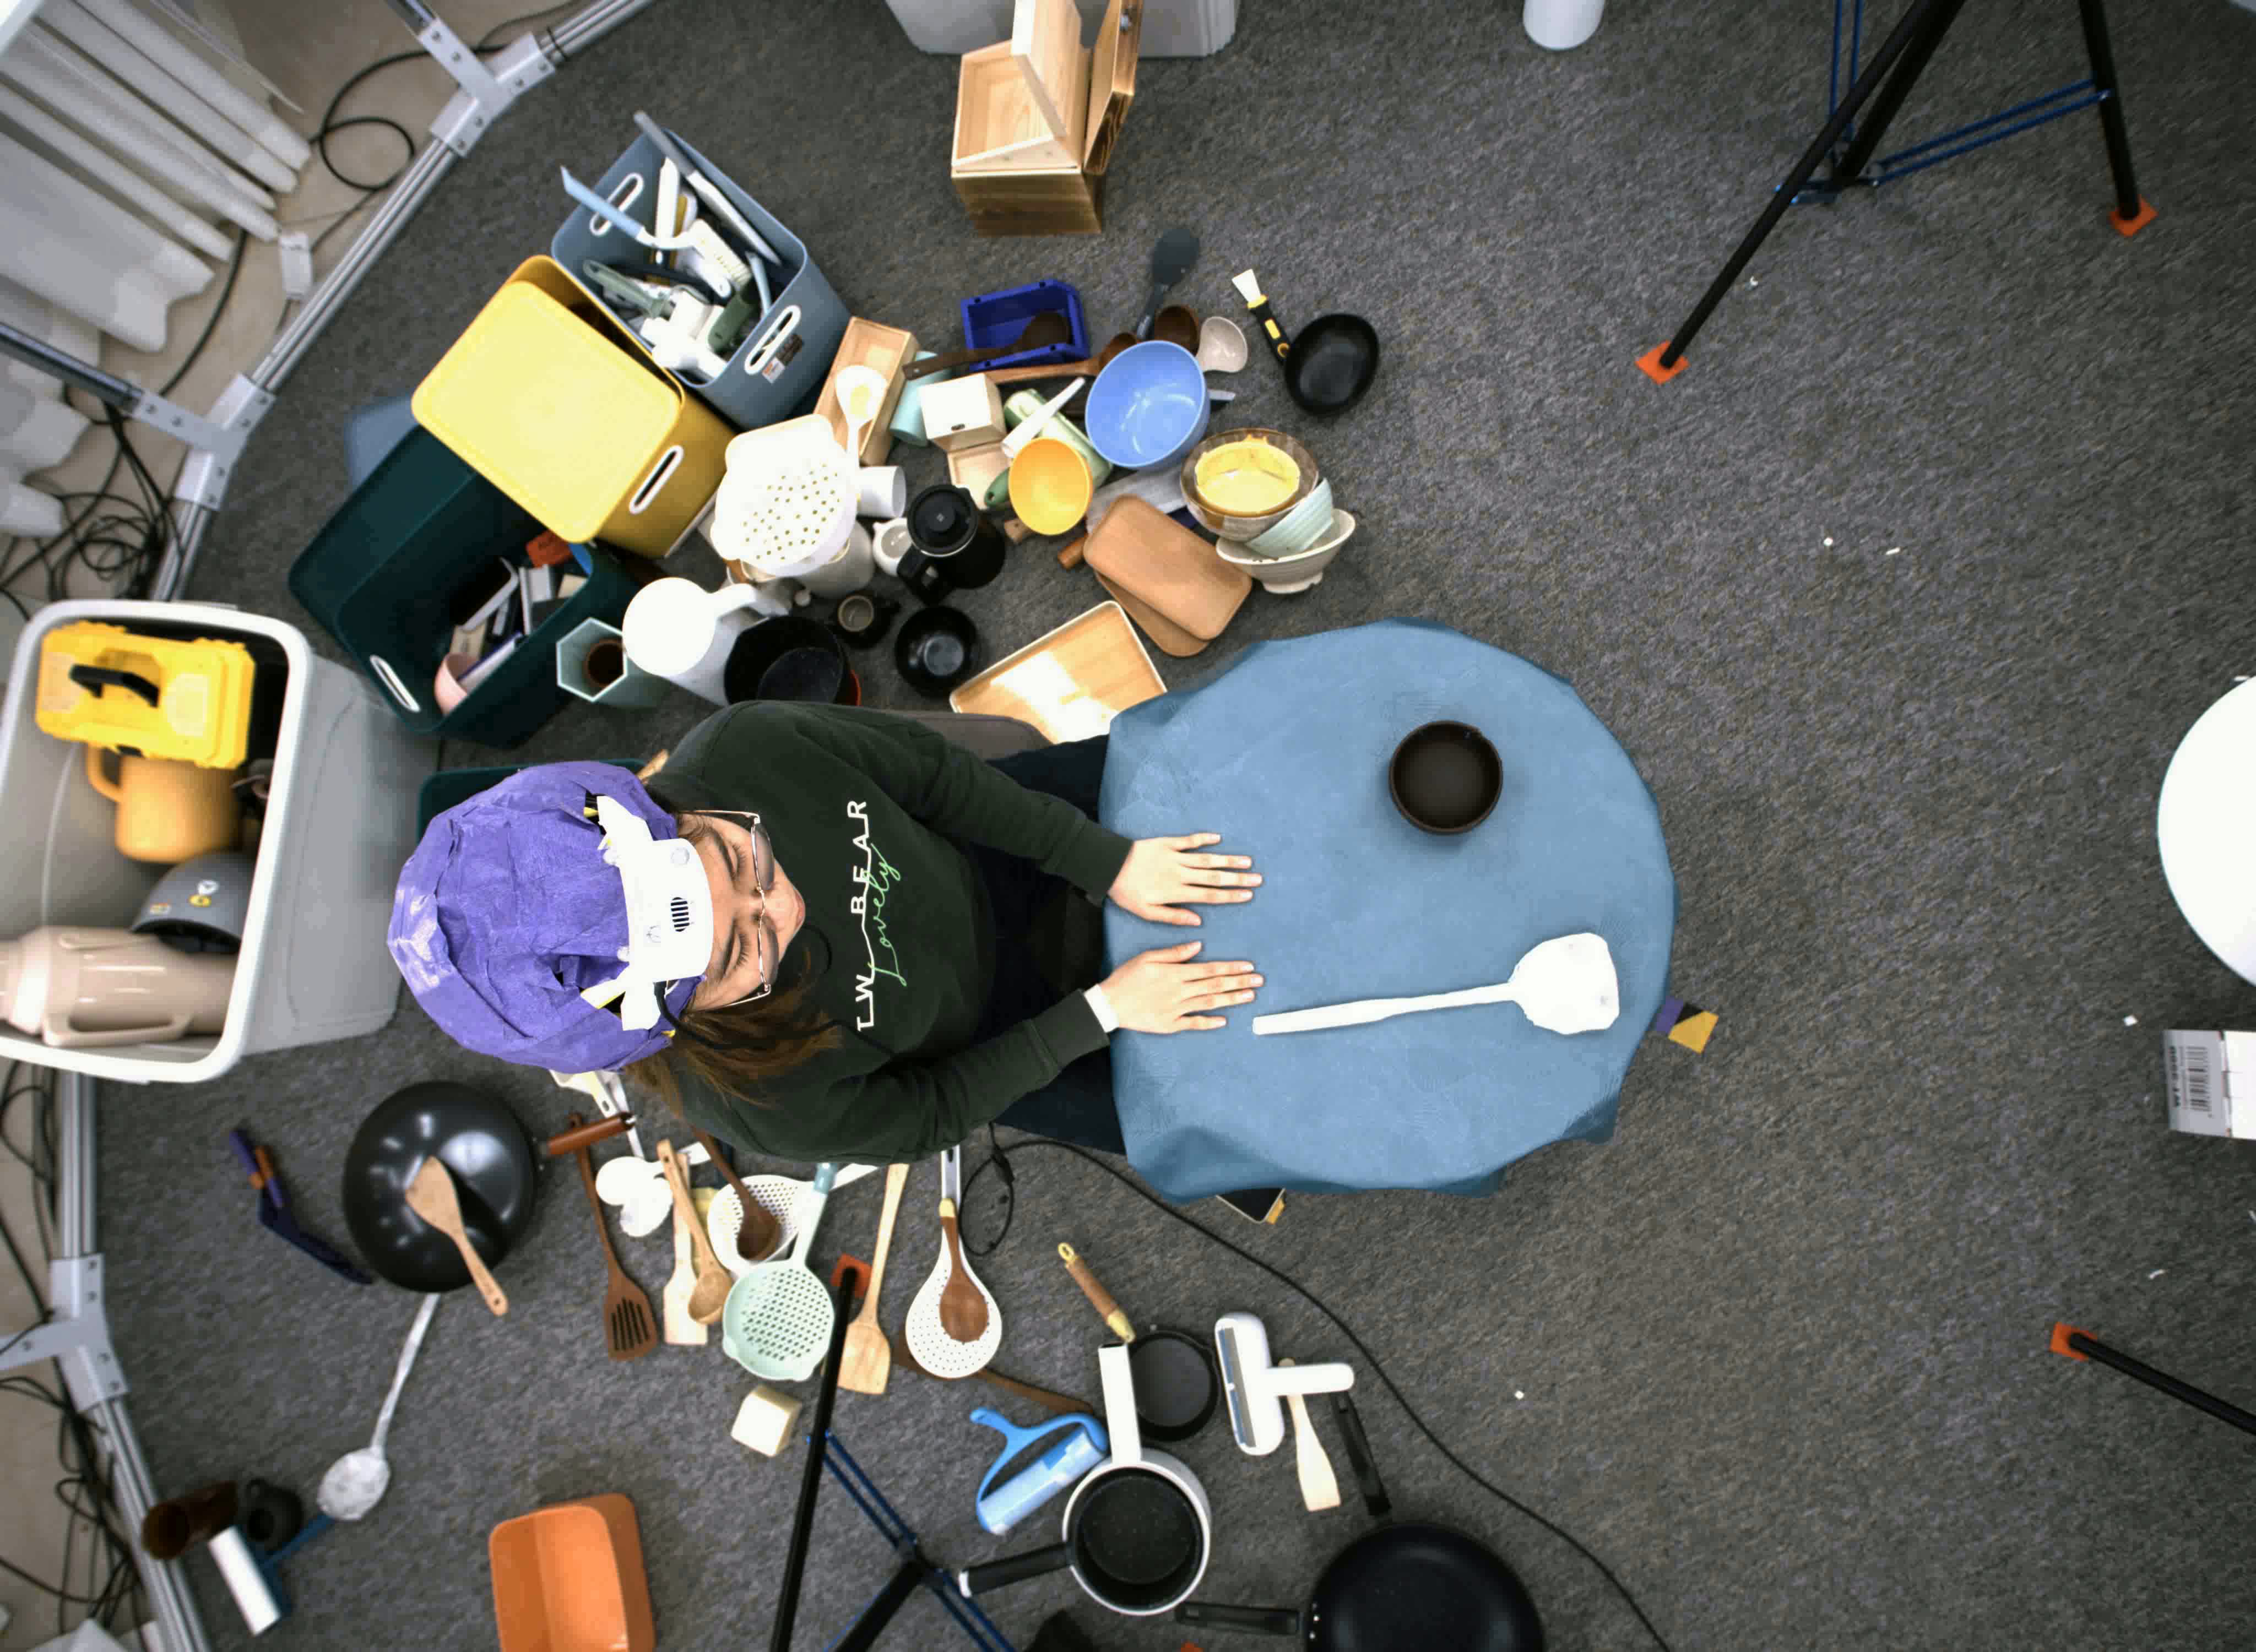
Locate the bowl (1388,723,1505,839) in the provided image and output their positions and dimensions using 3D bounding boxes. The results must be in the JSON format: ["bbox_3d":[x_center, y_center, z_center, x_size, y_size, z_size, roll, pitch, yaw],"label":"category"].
[{"bbox_3d":[0.330,-0.046,1.426,0.118,0.070,0.117,-1,85,12],"label":"bowl"}]

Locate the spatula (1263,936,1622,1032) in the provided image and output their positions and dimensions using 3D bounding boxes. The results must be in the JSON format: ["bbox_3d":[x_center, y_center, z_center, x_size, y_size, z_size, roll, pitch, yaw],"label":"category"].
[{"bbox_3d":[0.320,0.179,1.429,0.366,0.045,0.098,-8,86,9],"label":"spatula"}]
